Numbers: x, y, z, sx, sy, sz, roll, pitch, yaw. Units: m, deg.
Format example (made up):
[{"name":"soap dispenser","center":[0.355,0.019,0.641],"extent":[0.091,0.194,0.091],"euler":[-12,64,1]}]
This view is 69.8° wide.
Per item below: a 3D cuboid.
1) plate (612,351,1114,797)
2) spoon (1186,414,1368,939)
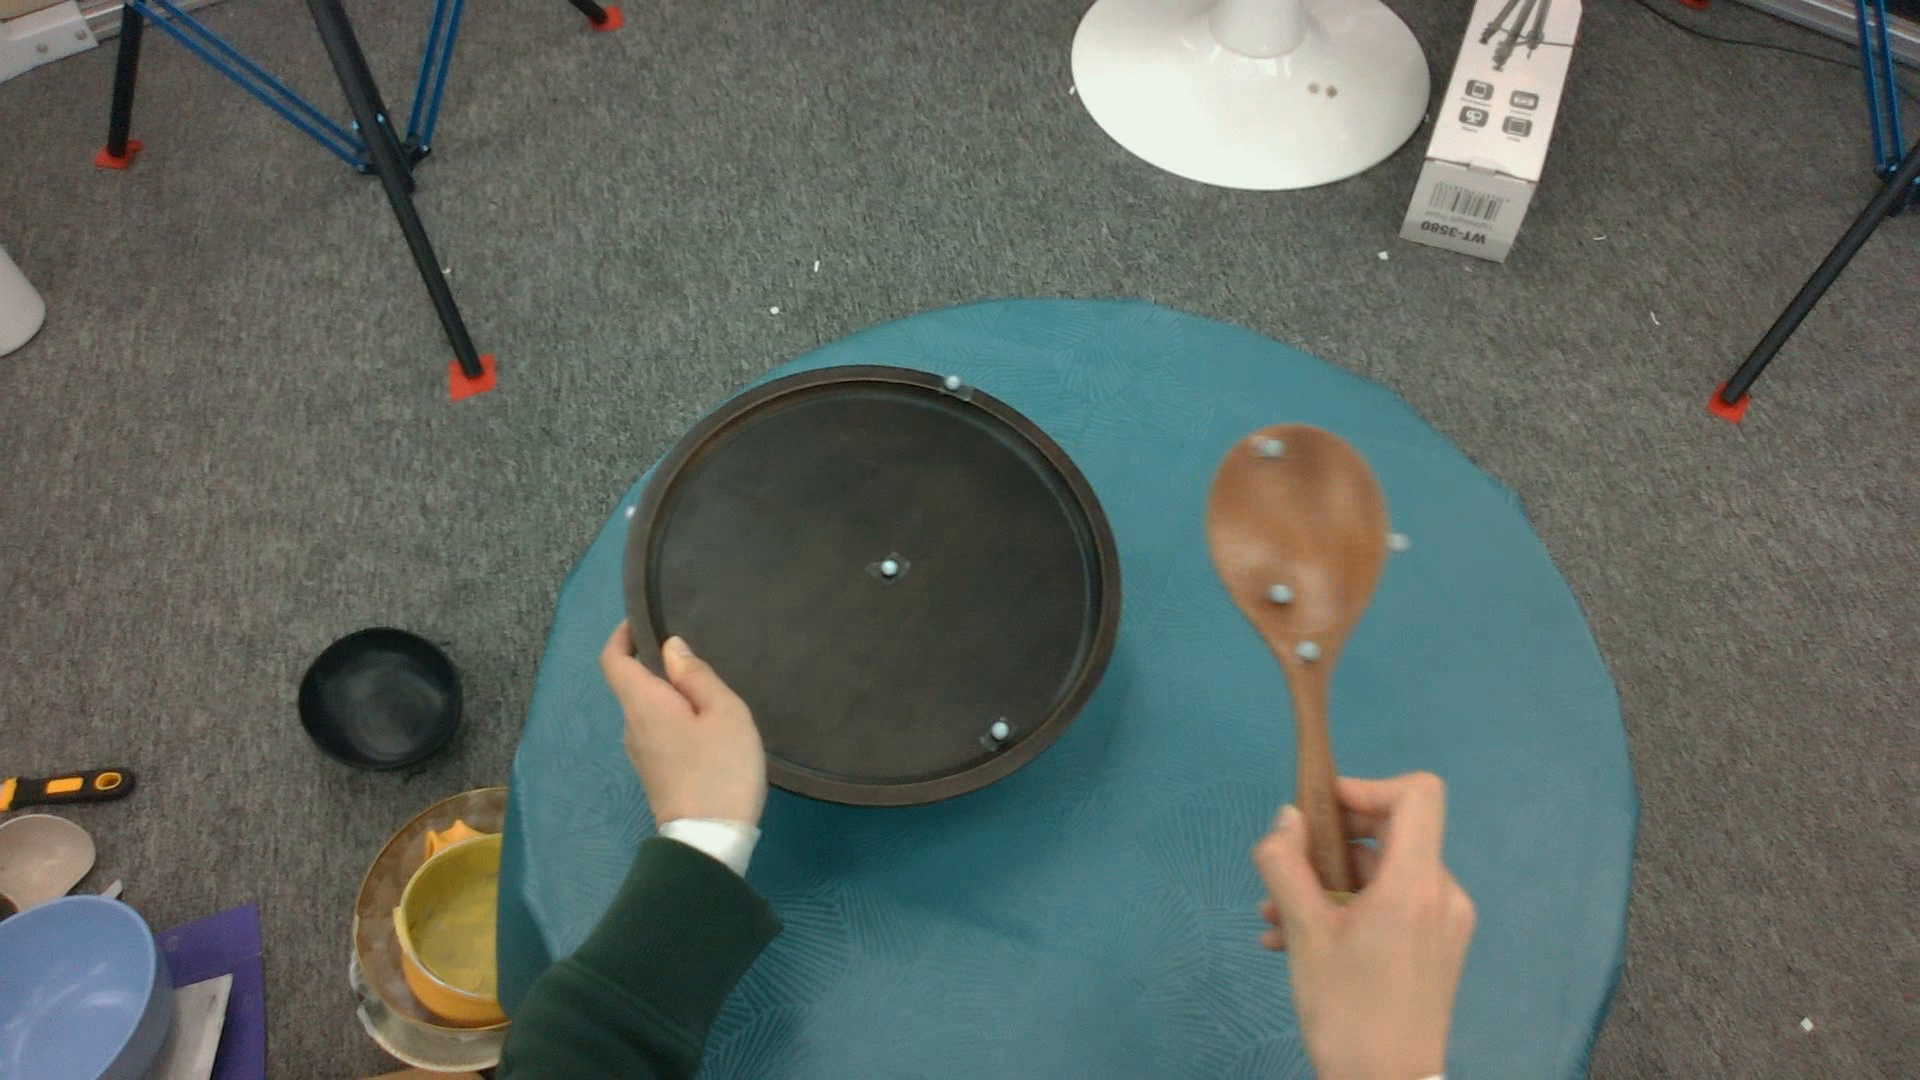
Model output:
[{"name":"plate","center":[-0.047,0.011,0.701],"extent":[0.255,0.029,0.256],"euler":[5,58,-8]},{"name":"spoon","center":[0.134,0.052,0.567],"extent":[0.075,0.017,0.216],"euler":[-2,75,7]}]
